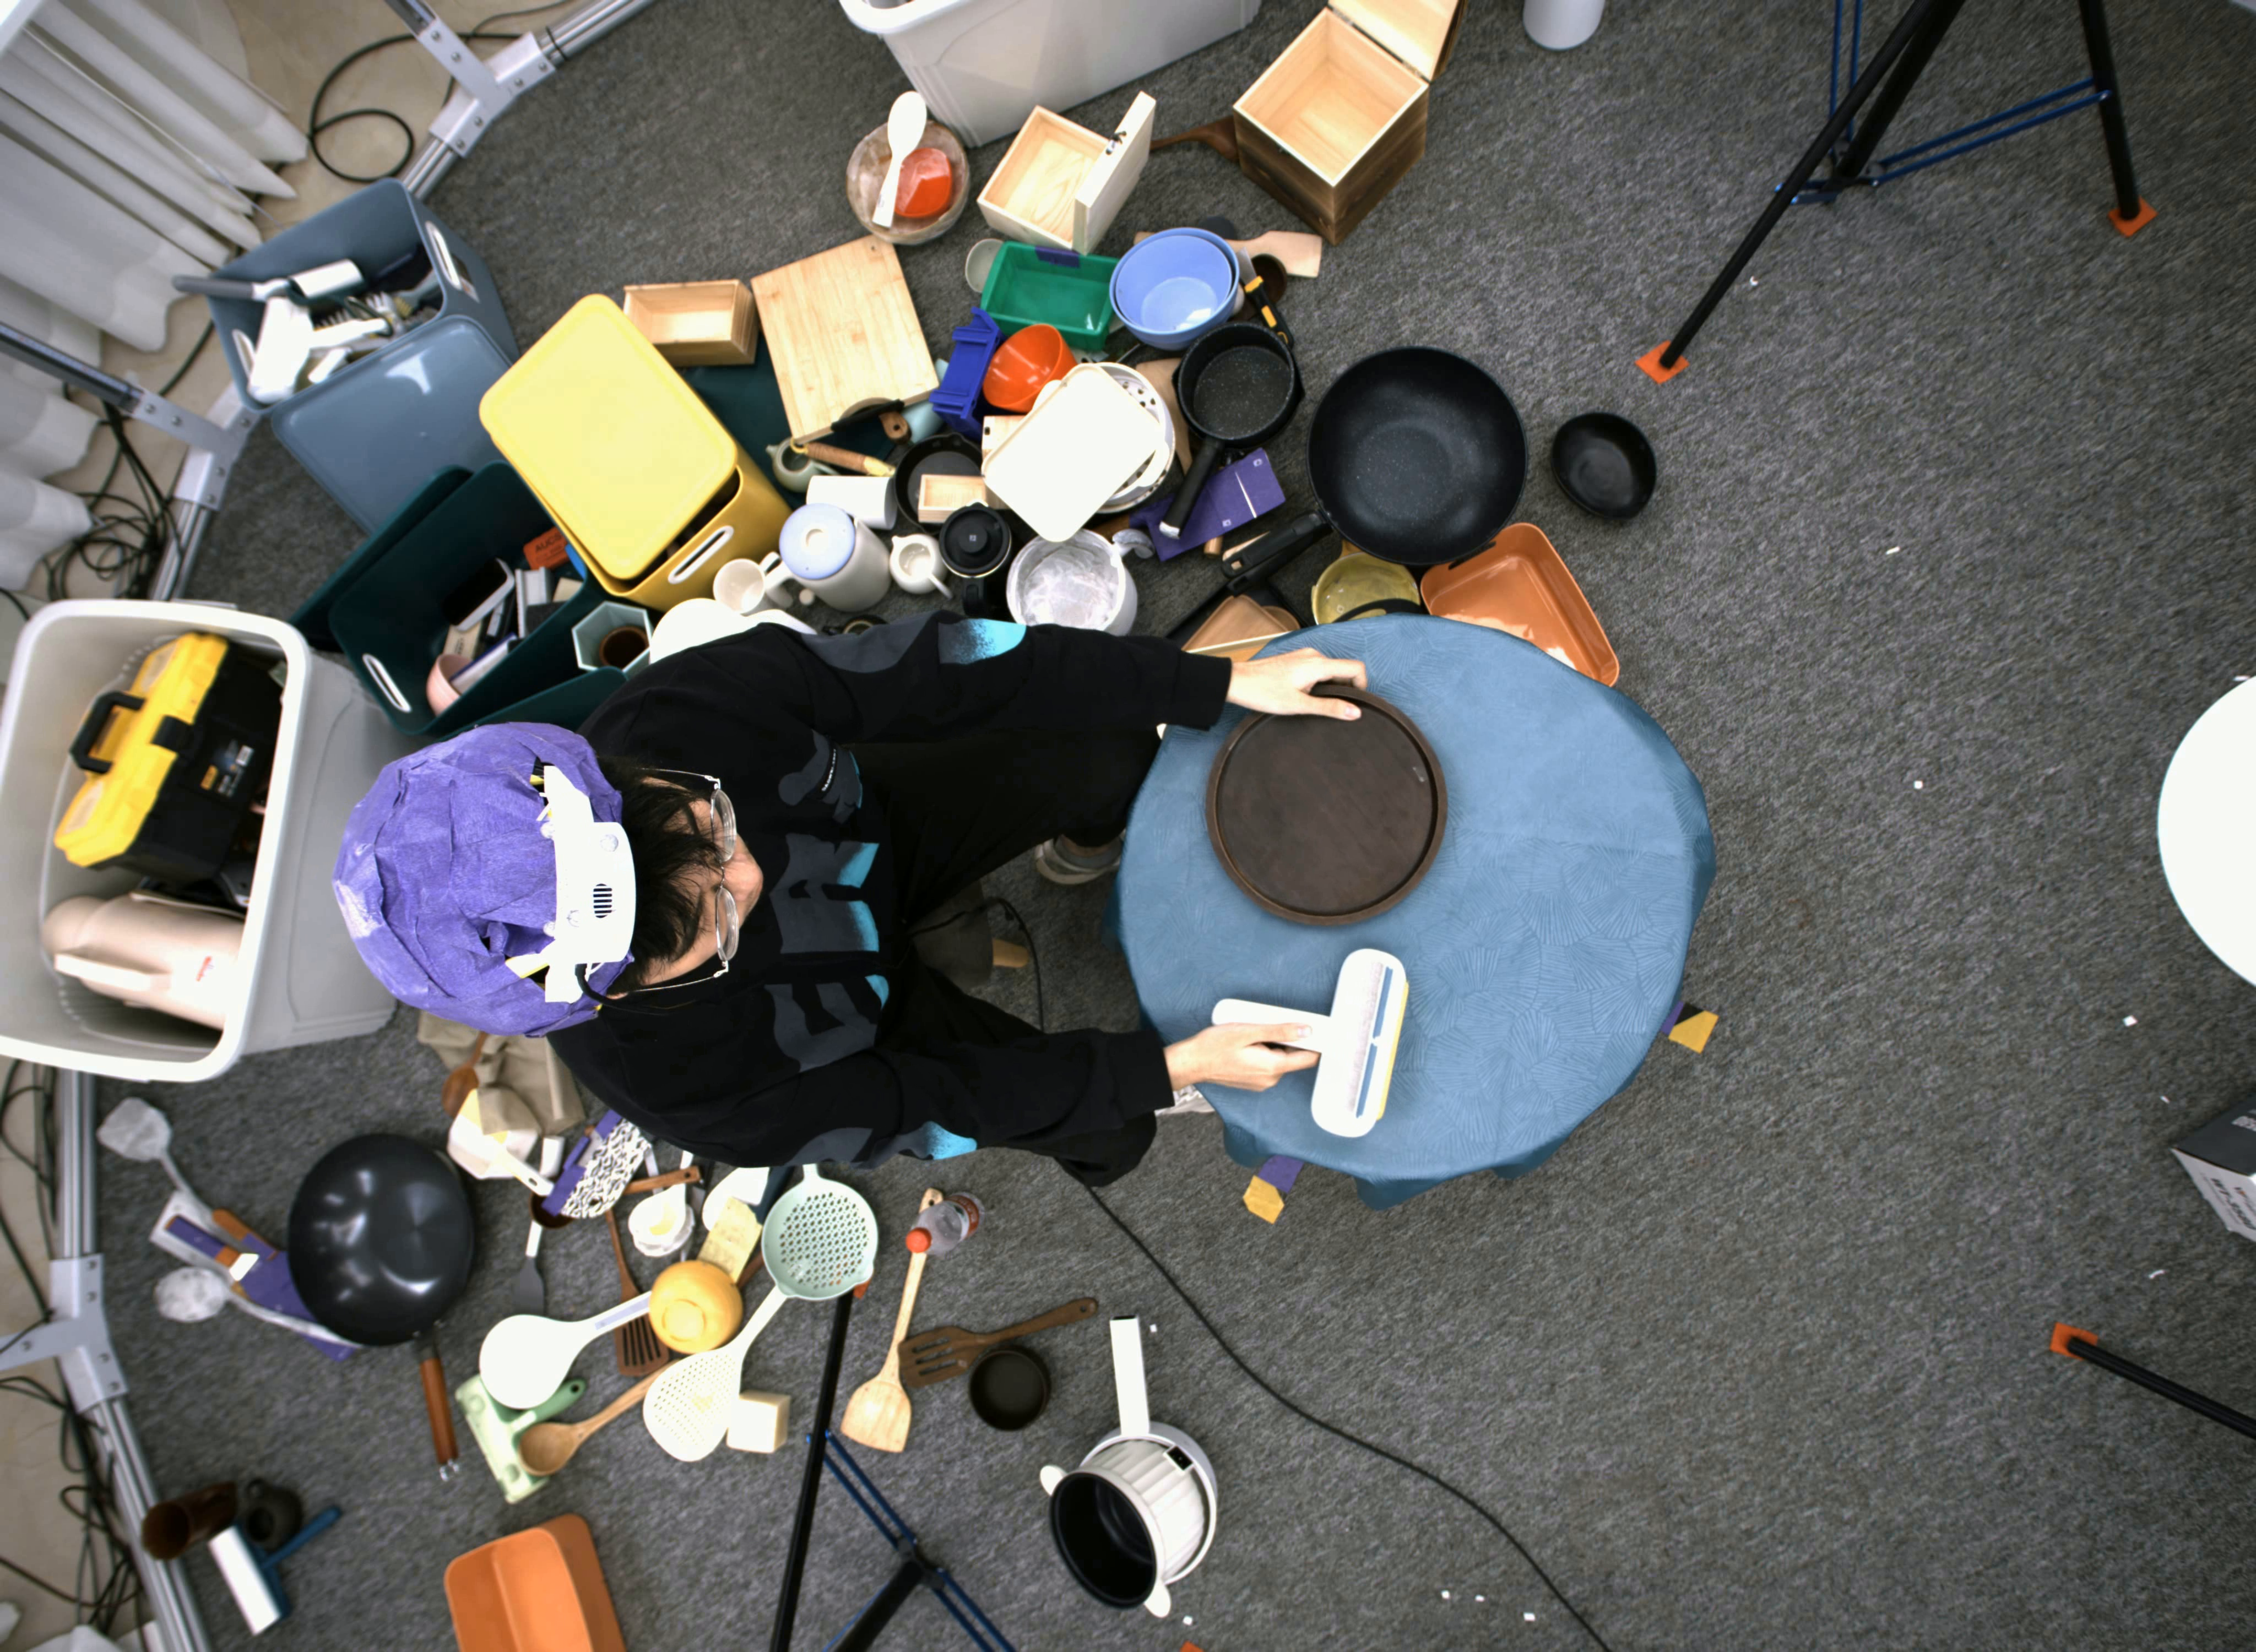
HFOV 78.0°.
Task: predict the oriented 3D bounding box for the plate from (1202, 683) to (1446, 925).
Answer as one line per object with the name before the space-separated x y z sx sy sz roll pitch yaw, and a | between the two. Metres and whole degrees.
plate | 0.205 -0.023 1.446 0.256 0.029 0.255 1 95 14

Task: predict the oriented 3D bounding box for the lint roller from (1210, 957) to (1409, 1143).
lint roller | 0.176 0.210 1.418 0.192 0.075 0.190 17 76 9
